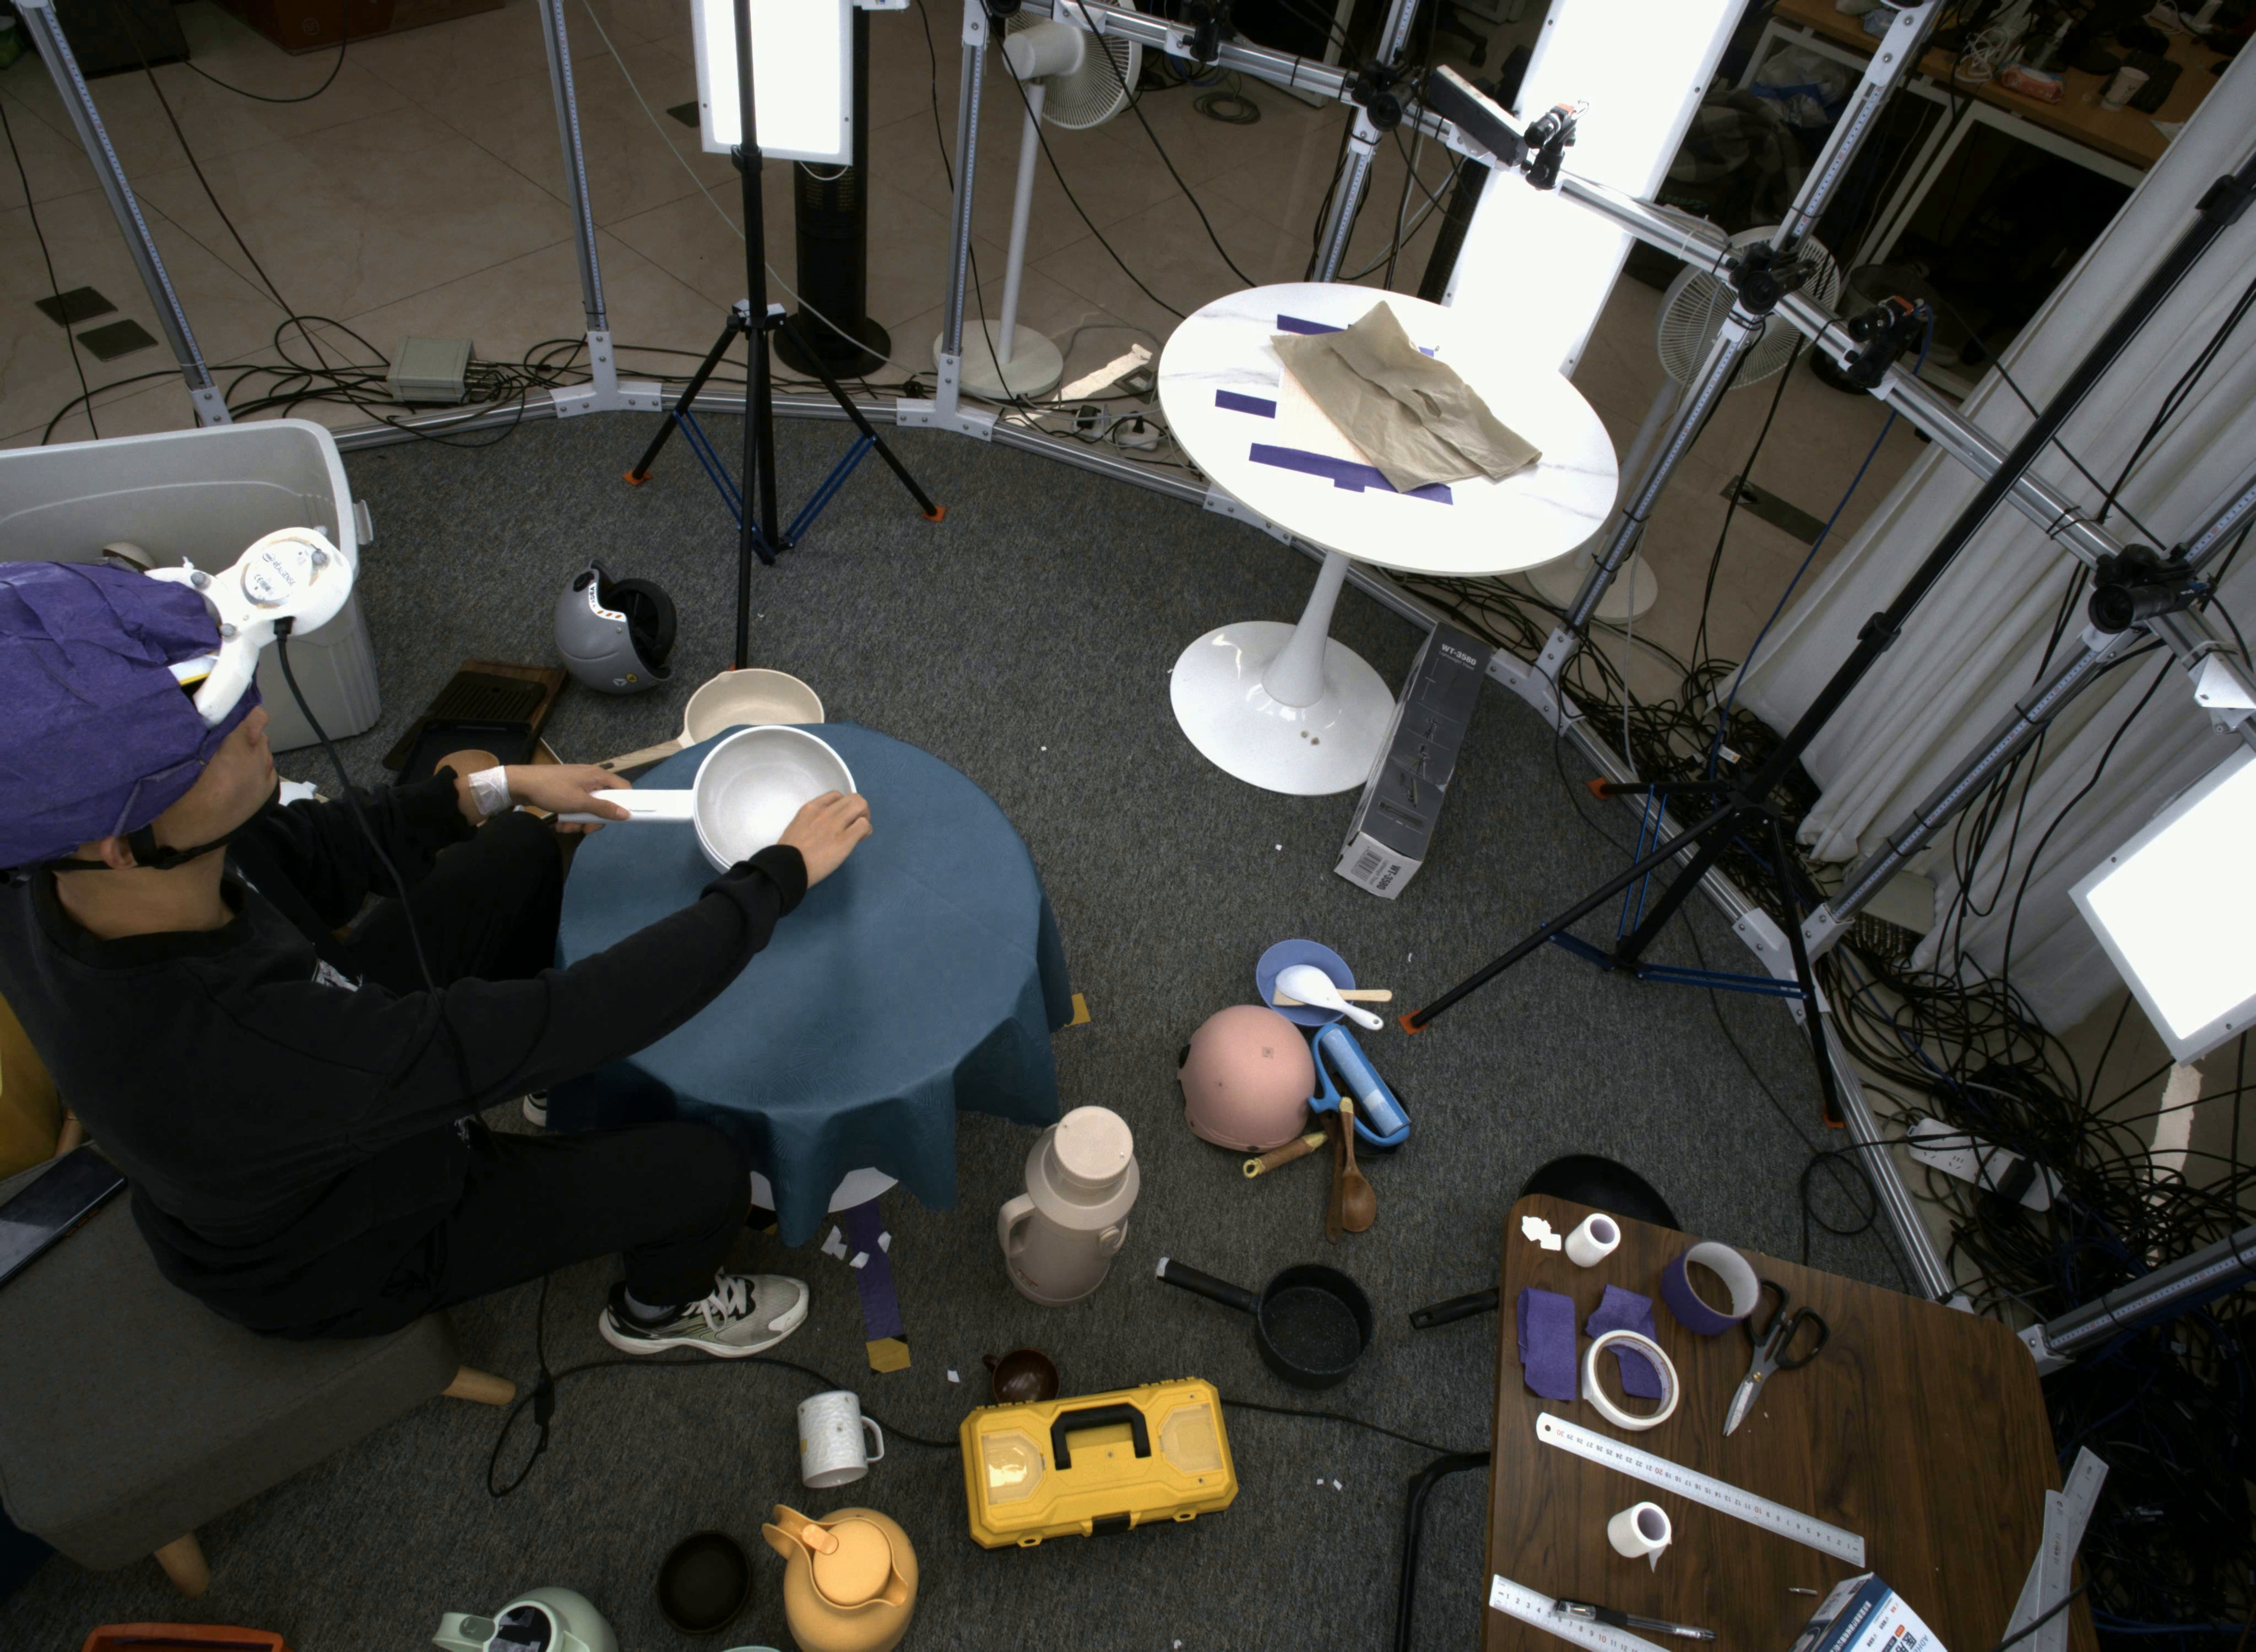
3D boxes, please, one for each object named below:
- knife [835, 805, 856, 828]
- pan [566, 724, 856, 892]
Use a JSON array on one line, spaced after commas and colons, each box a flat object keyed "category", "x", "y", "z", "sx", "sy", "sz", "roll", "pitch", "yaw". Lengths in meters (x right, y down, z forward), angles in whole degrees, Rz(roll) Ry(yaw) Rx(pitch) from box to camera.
[{"category": "knife", "x": -0.340, "y": -0.011, "z": 1.558, "sx": 0.017, "sy": 0.222, "sz": 0.026, "roll": -45, "pitch": 99, "yaw": -12}, {"category": "pan", "x": -0.521, "y": -0.018, "z": 1.604, "sx": 0.357, "sy": 0.101, "sz": 0.202, "roll": -1, "pitch": 80, "yaw": -22}]
